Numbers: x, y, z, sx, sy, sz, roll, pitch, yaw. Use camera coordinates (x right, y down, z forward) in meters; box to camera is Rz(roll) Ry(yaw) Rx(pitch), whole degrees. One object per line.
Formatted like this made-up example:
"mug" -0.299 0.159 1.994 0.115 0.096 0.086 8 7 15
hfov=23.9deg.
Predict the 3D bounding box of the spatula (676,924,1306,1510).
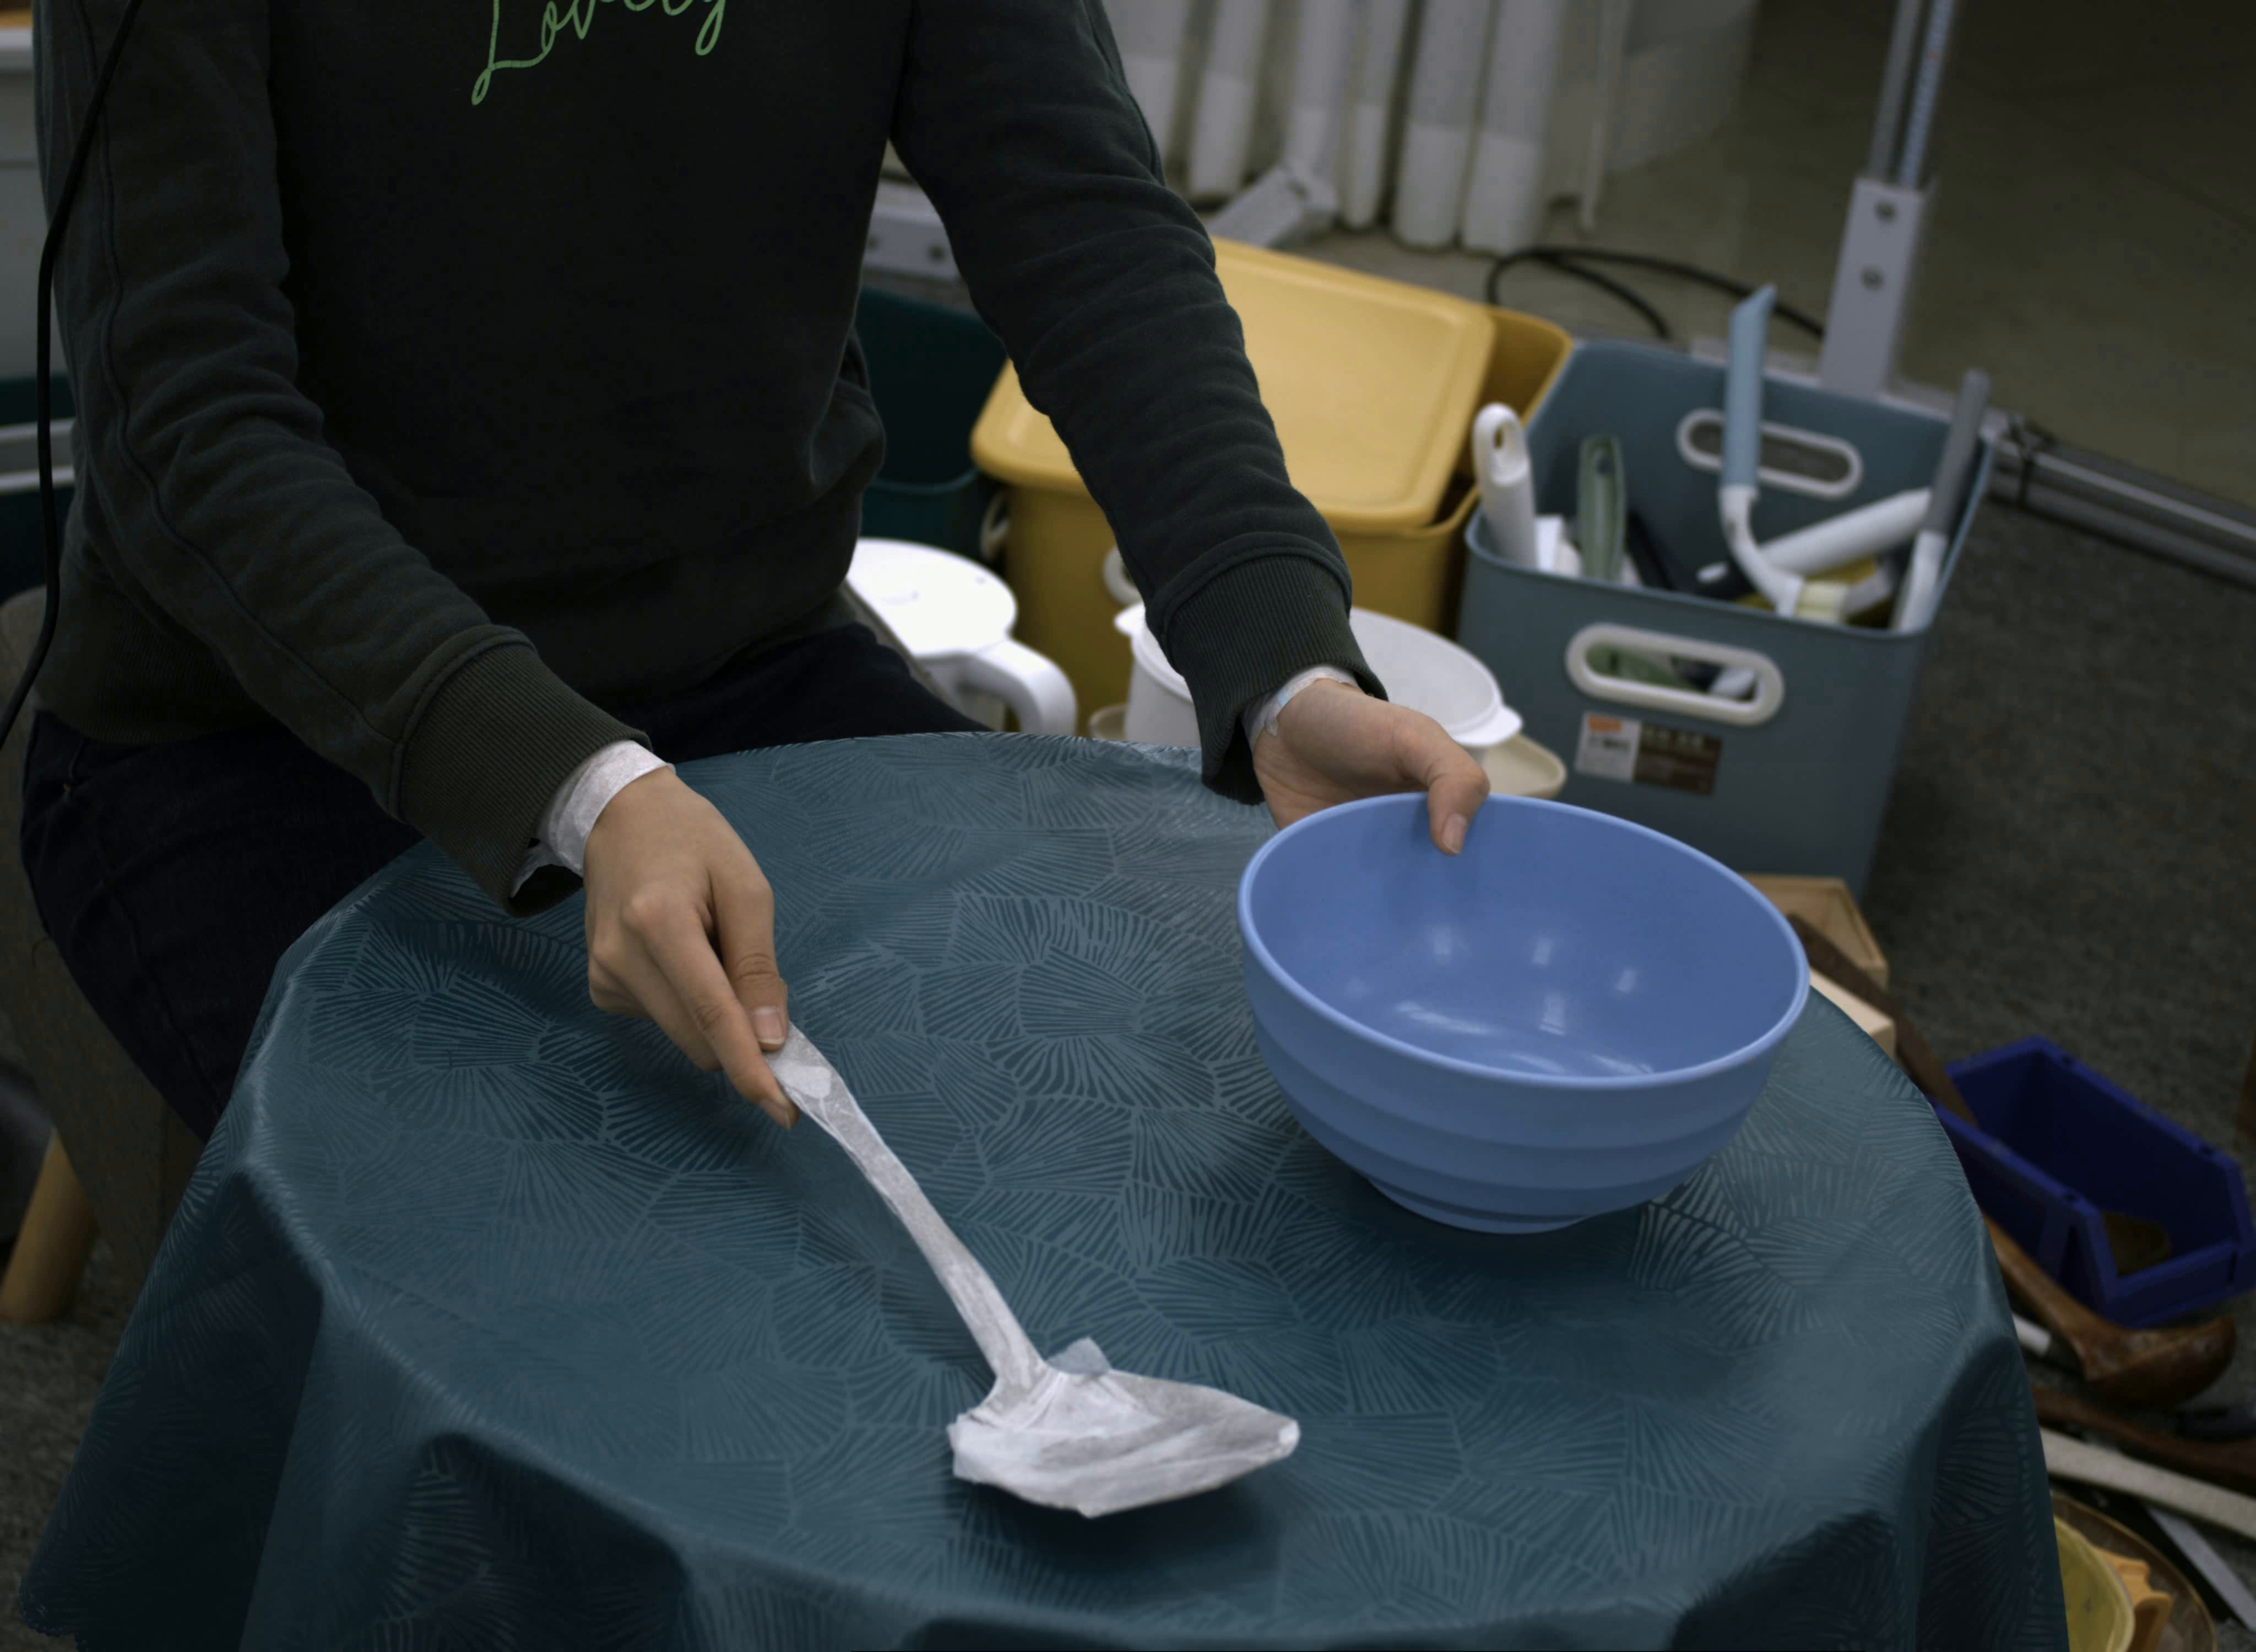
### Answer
"spatula" -0.068 0.117 1.728 0.098 0.044 0.368 -13 39 -26

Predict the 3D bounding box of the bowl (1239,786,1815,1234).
"bowl" 0.129 0.075 1.817 0.196 0.095 0.198 5 29 -3
